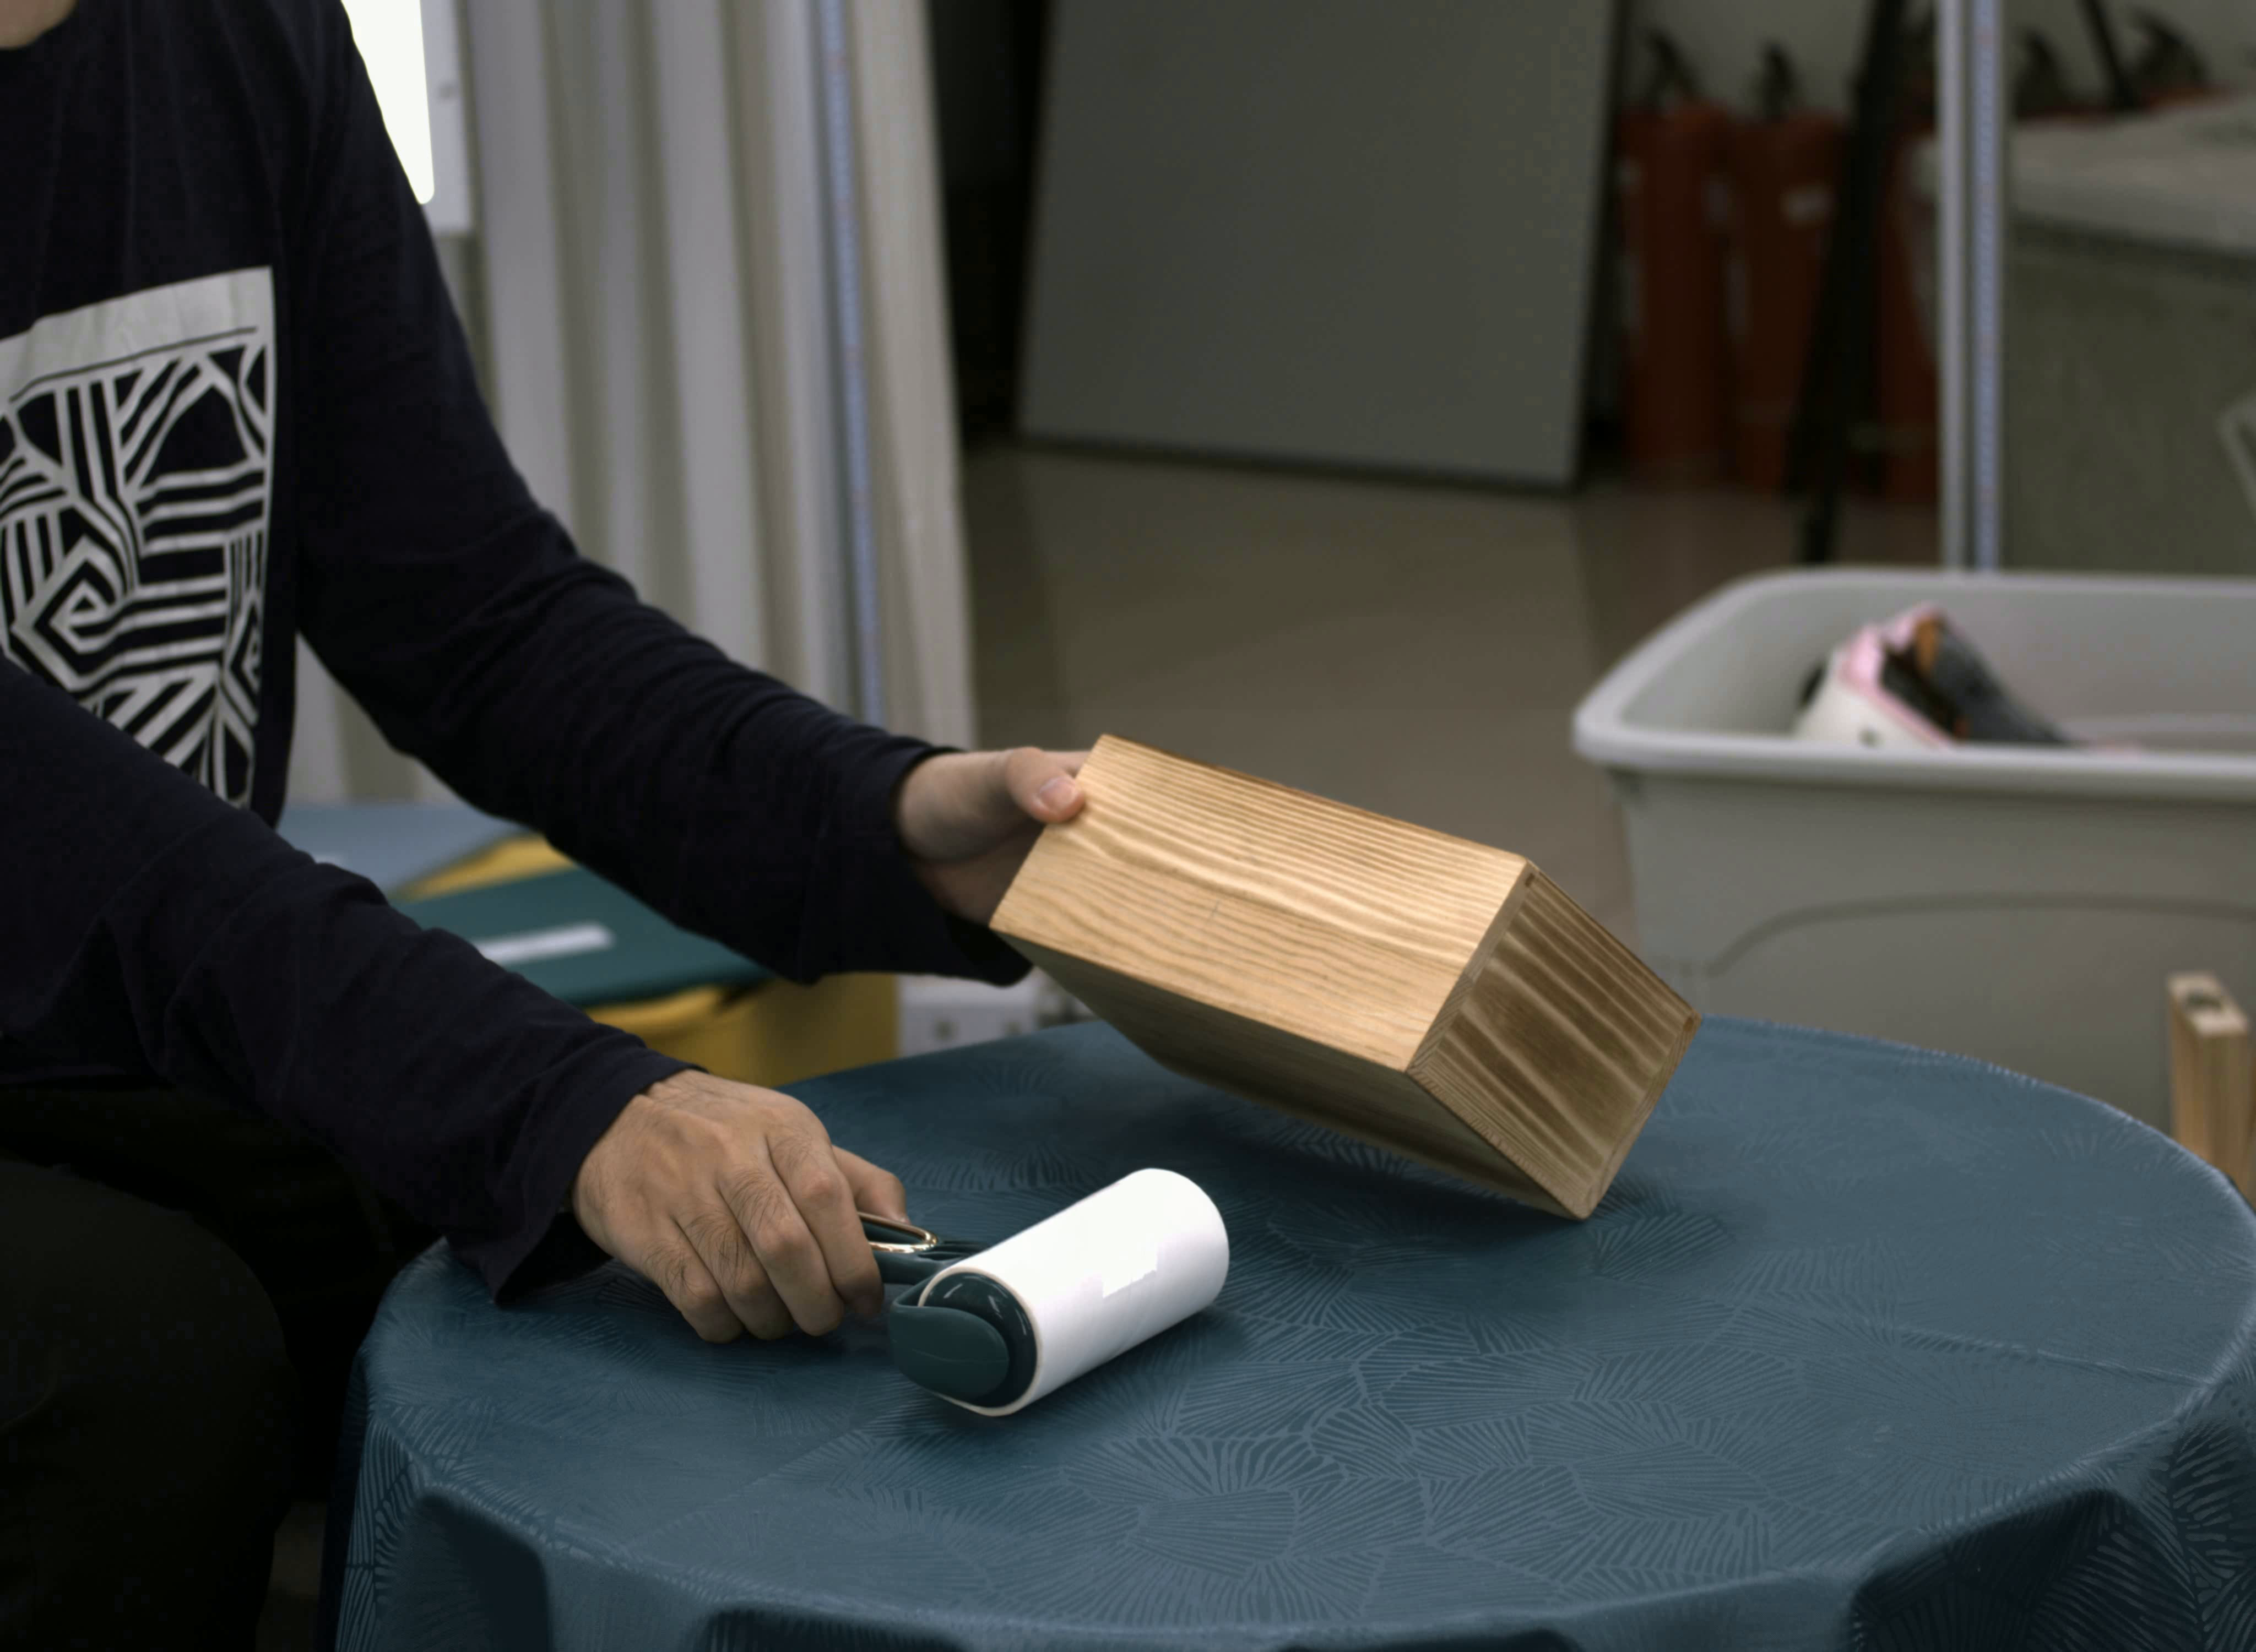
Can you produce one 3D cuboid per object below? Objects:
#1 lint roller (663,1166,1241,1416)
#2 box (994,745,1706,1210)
[{"bbox_3d":[-0.070,0.129,1.643,0.181,0.049,0.132,9,19,34],"label":"lint roller"},{"bbox_3d":[0.070,0.048,1.764,0.213,0.080,0.106,14,-18,49],"label":"box"}]
